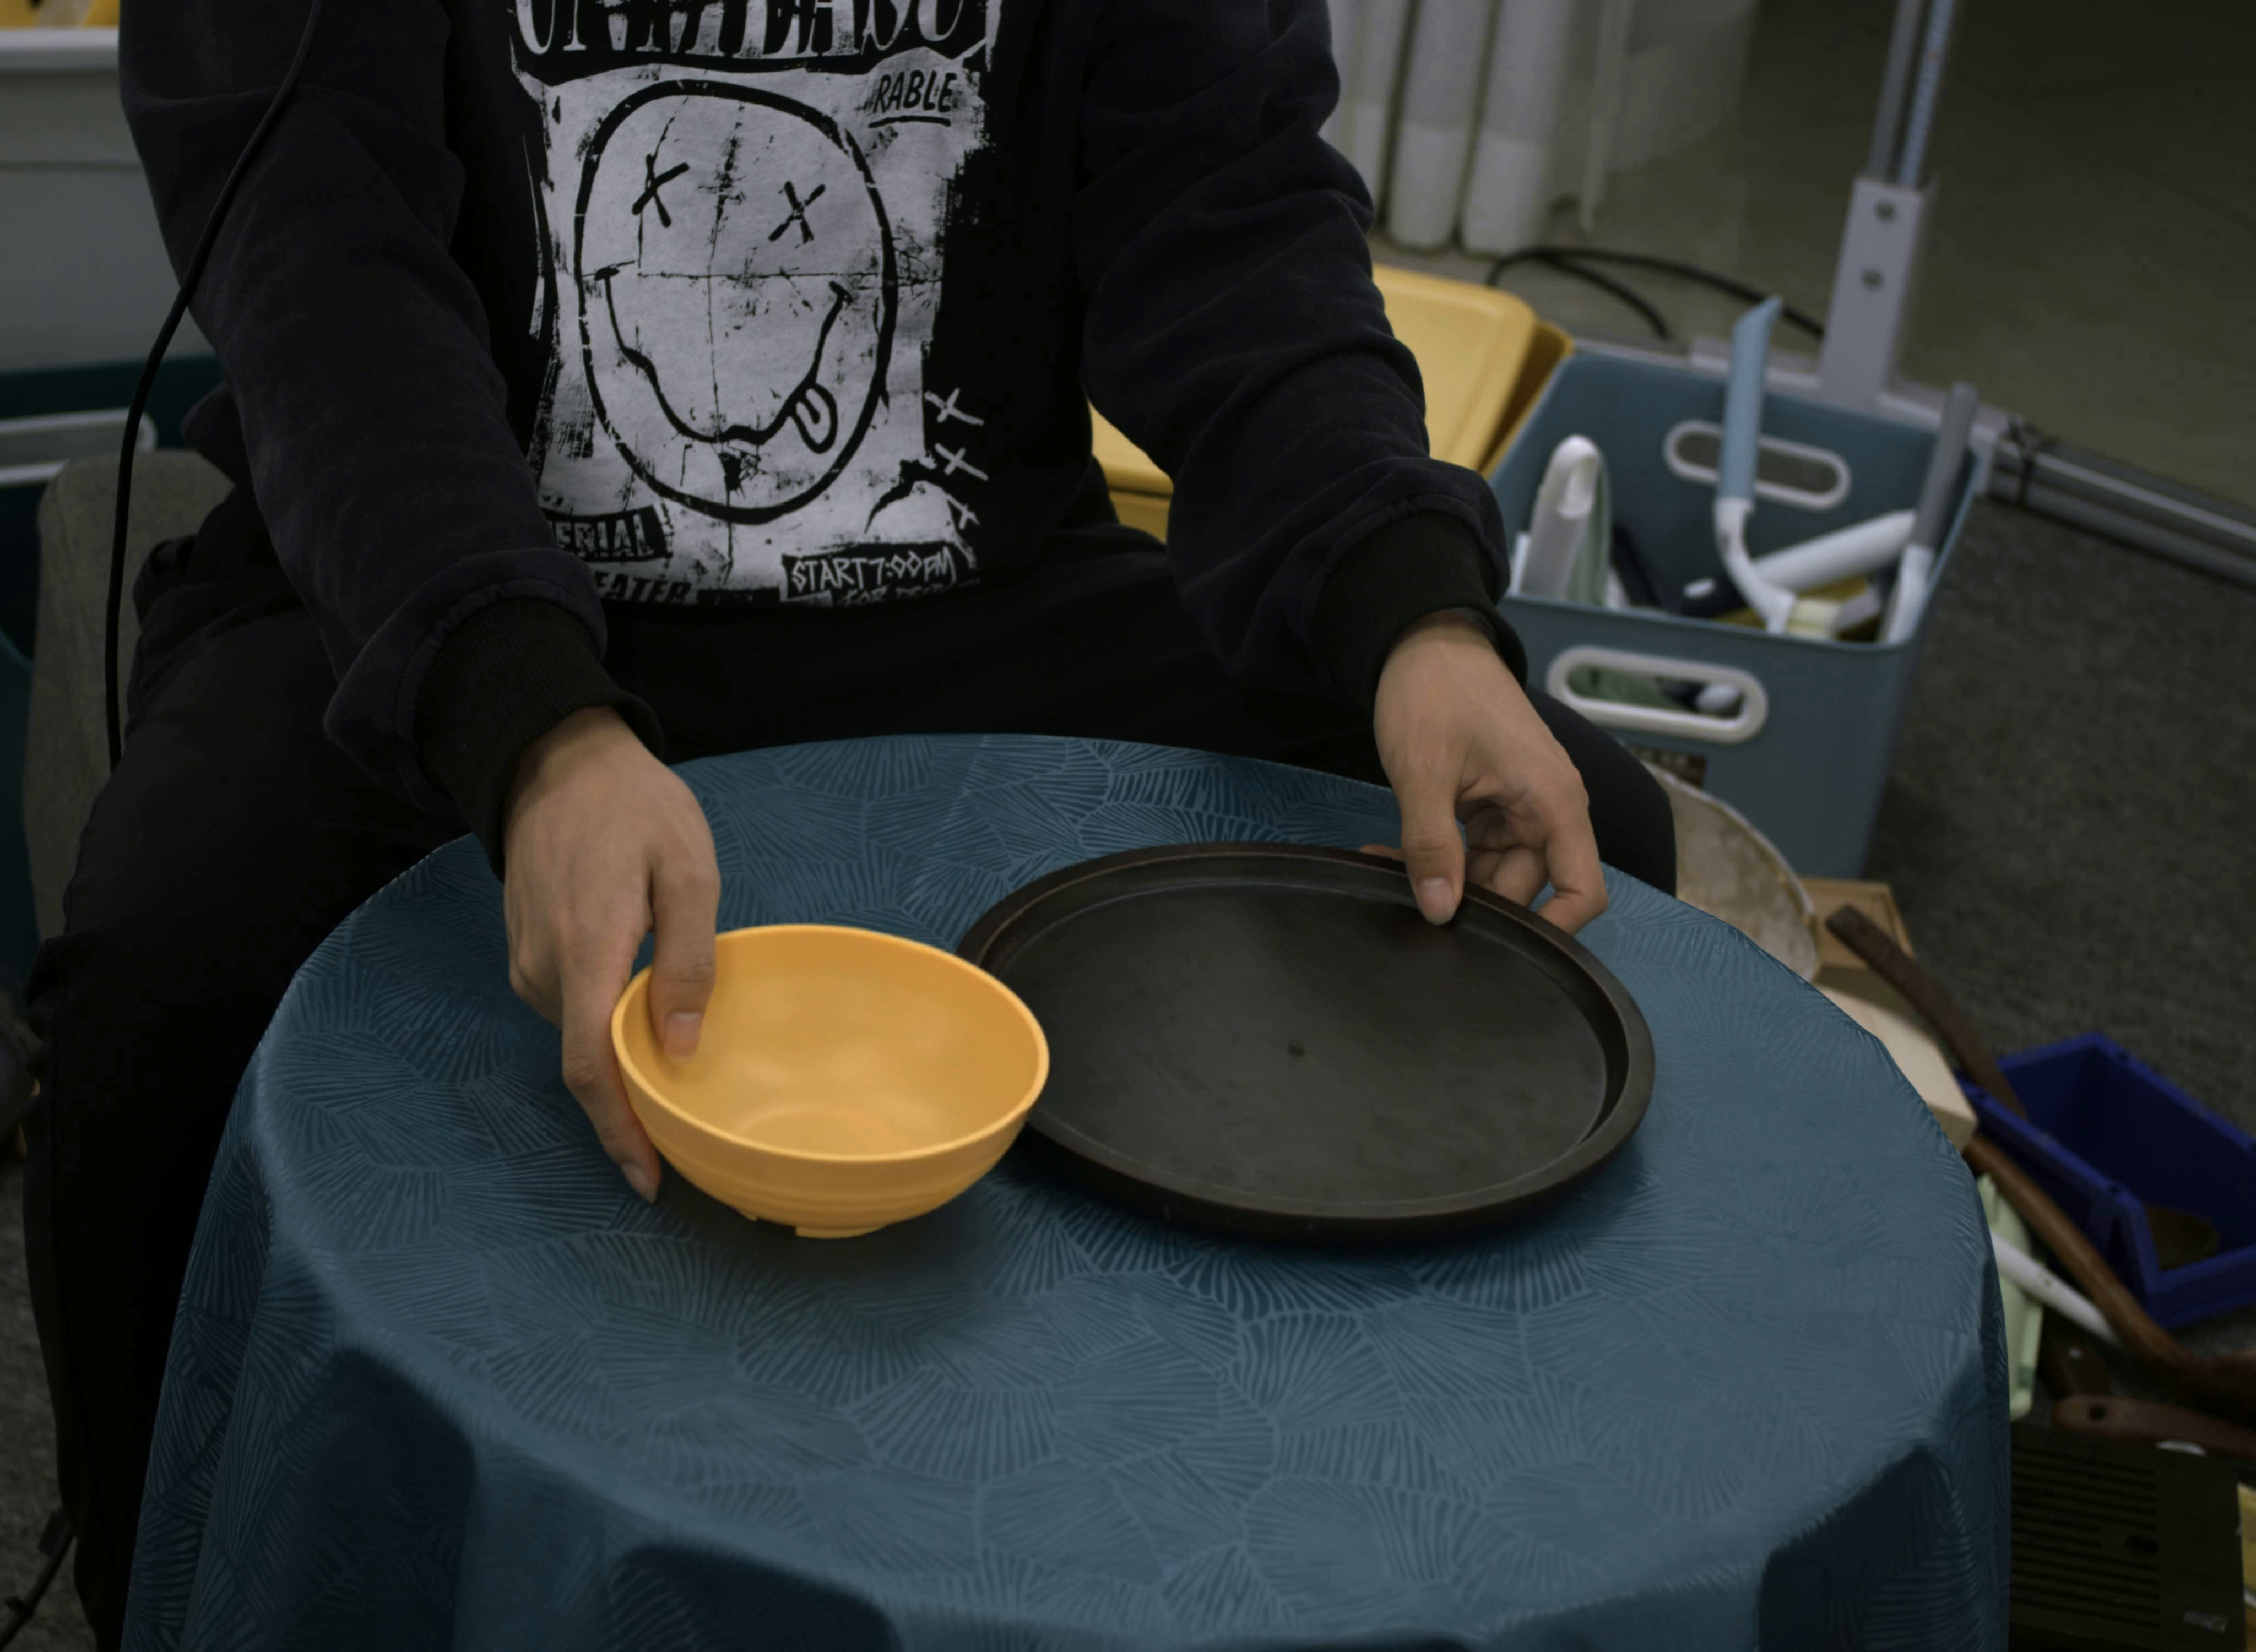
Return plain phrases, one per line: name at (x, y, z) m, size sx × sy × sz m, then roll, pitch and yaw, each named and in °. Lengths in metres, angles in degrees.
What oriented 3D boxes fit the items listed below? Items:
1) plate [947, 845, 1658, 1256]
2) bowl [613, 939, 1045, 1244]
plate at (0.061, 0.077, 1.874) m, size 0.254 × 0.029 × 0.256 m, roll 3°, pitch 28°, yaw -2°
bowl at (-0.102, 0.097, 1.765) m, size 0.145 × 0.060 × 0.146 m, roll 6°, pitch 26°, yaw -3°
